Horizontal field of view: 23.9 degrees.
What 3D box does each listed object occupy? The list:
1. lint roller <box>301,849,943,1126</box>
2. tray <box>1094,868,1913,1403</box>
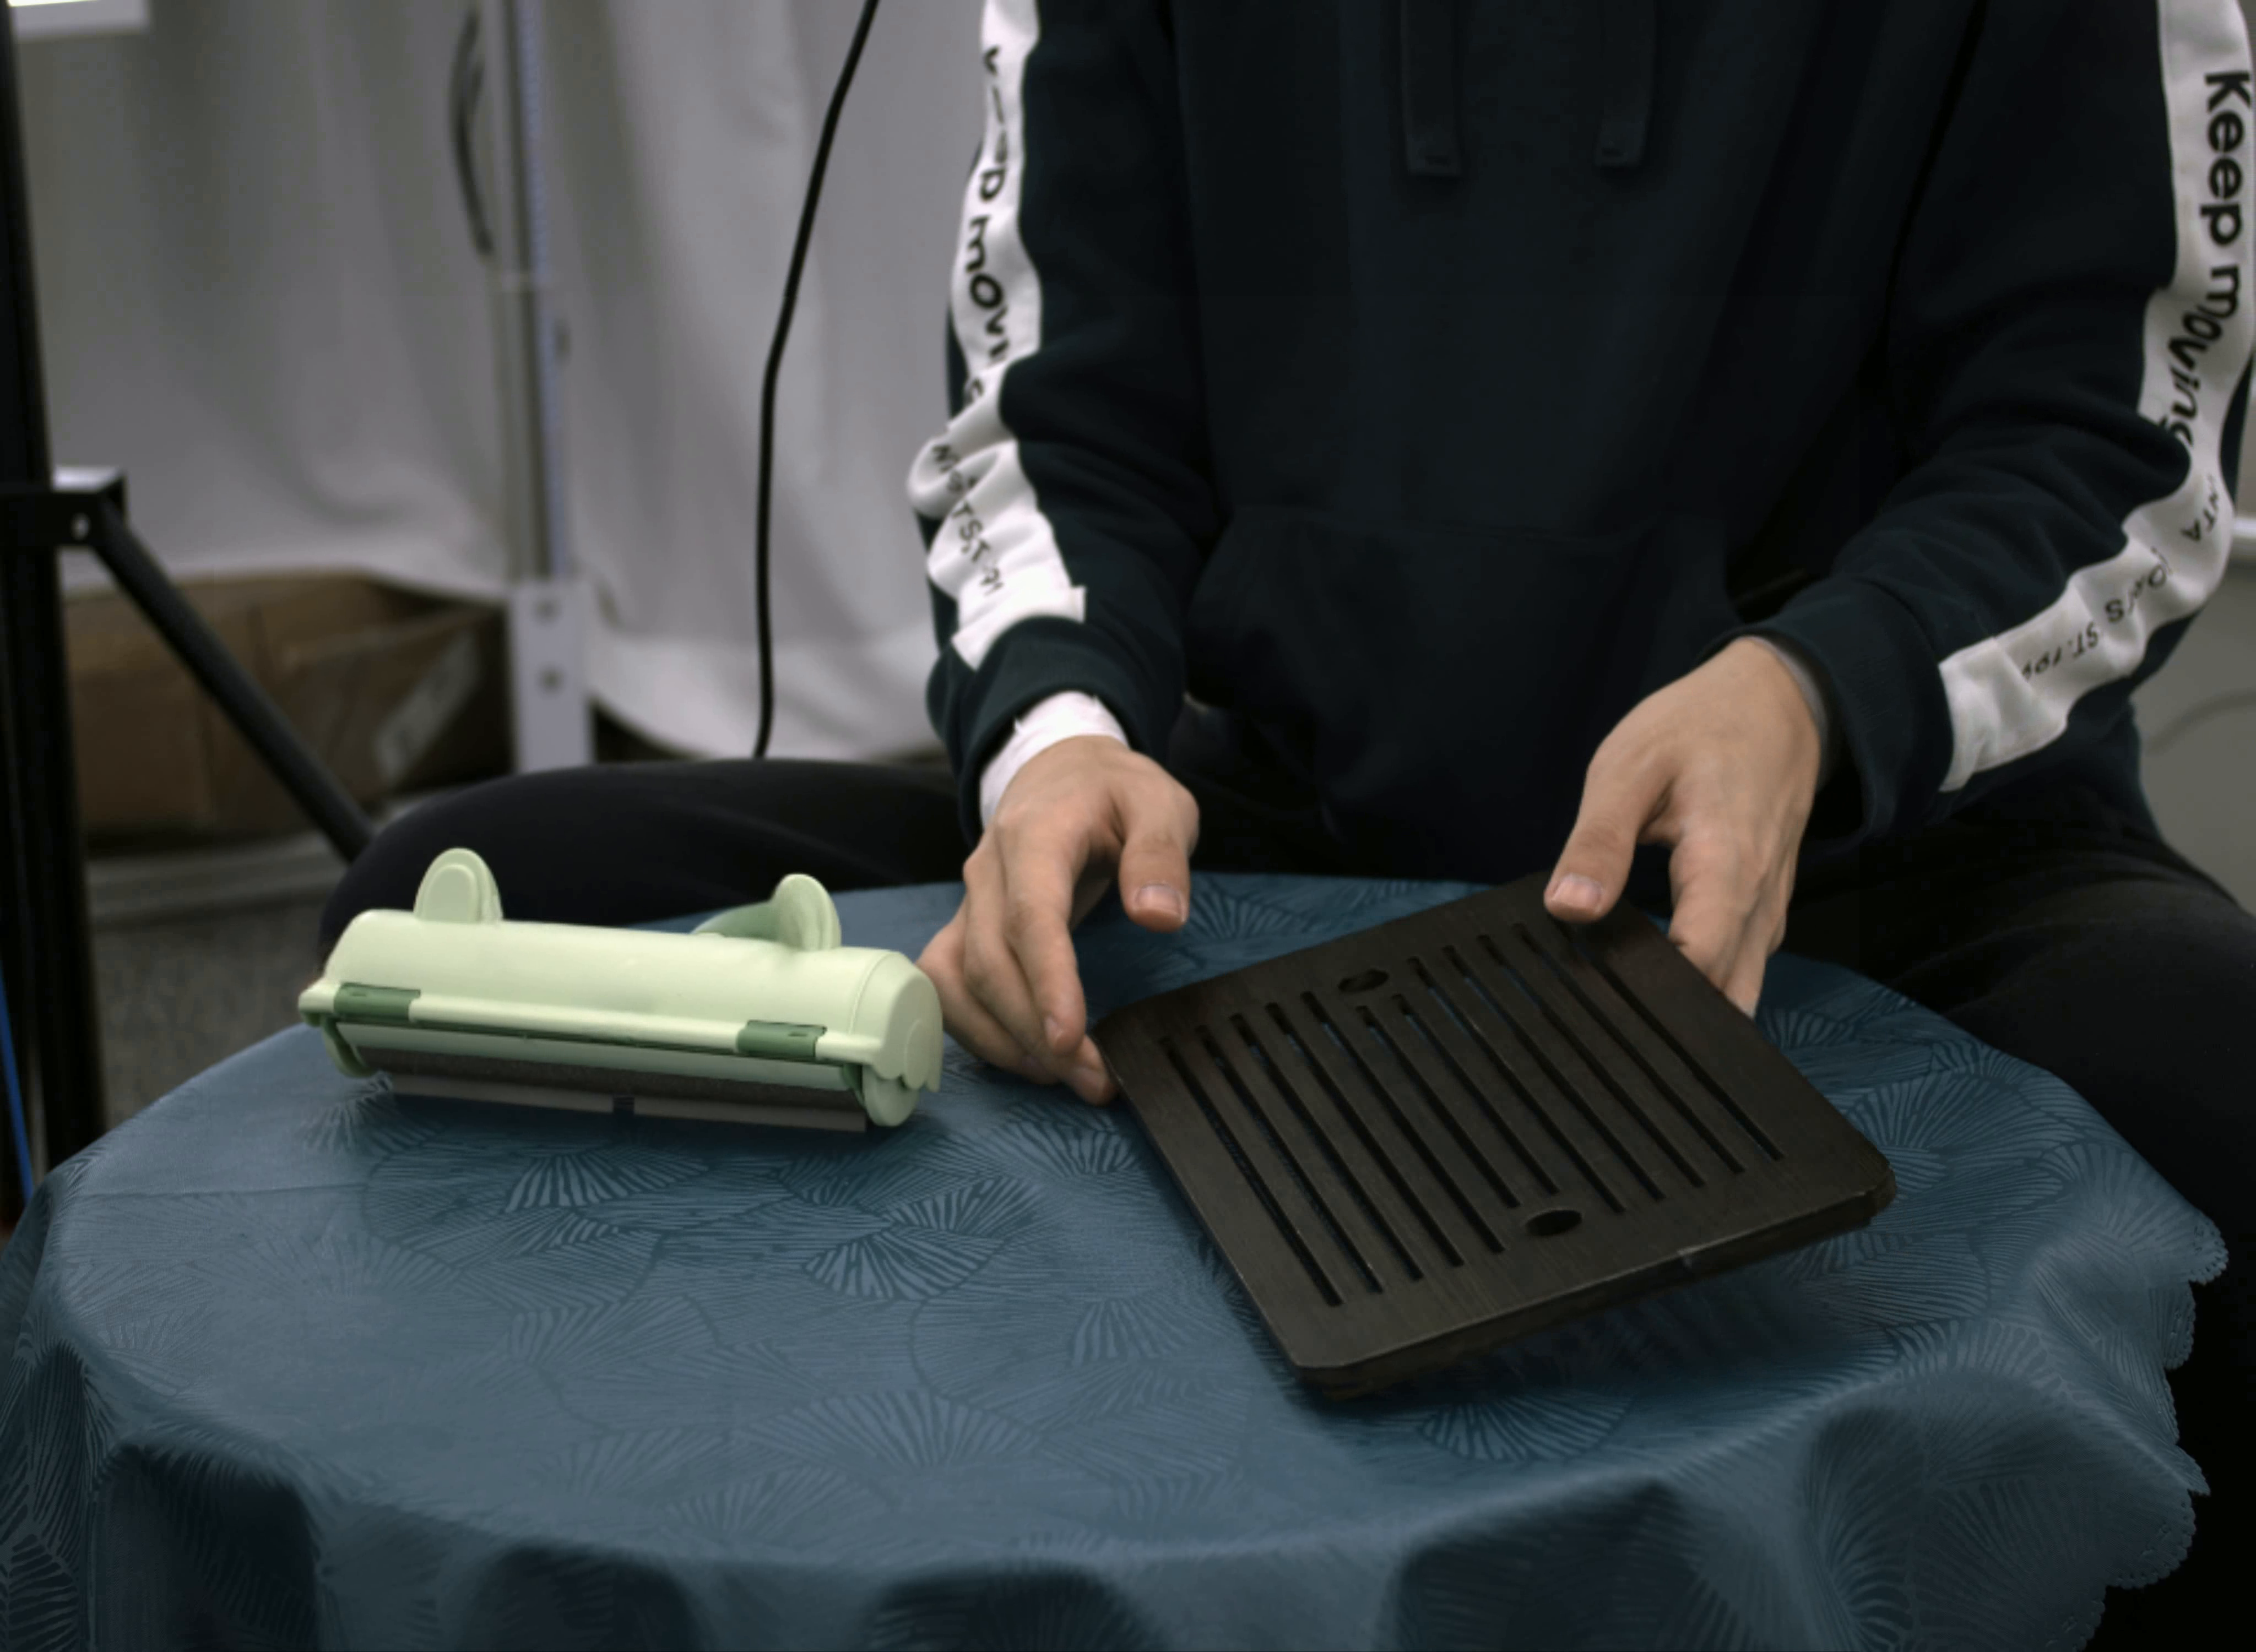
[{"bbox_3d":[-0.137,0.035,1.694,0.201,0.082,0.181,4,20,22],"label":"lint roller"},{"bbox_3d":[0.100,0.085,1.525,0.169,0.018,0.310,-18,18,-6],"label":"tray"}]
